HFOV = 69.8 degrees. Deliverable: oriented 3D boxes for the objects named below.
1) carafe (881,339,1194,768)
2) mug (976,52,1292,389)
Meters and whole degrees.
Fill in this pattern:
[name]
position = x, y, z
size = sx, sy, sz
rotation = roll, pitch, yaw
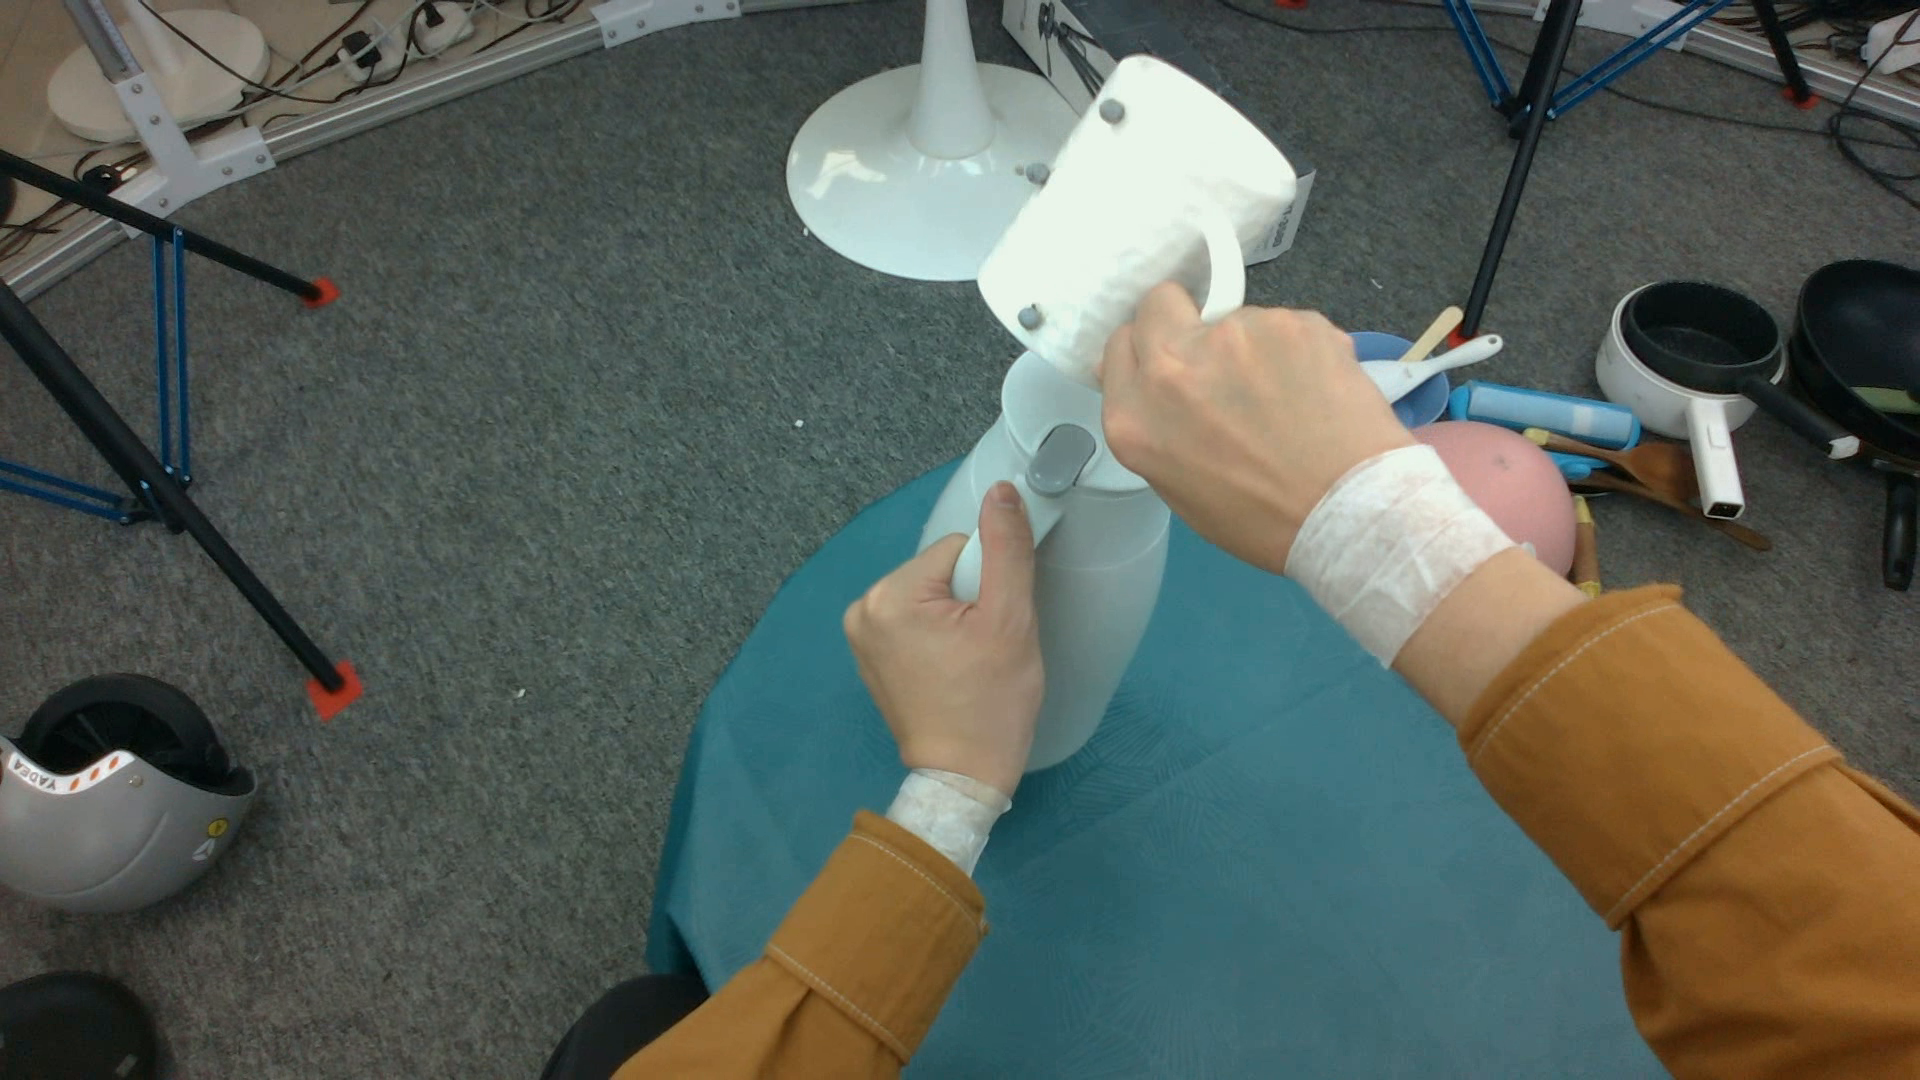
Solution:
[carafe]
position = 0.032, 0.016, 0.701
size = 0.132, 0.247, 0.168
rotation = 33, 55, 11
[mug]
position = 0.073, -0.116, 0.534
size = 0.085, 0.101, 0.118
rotation = 16, 37, -33
